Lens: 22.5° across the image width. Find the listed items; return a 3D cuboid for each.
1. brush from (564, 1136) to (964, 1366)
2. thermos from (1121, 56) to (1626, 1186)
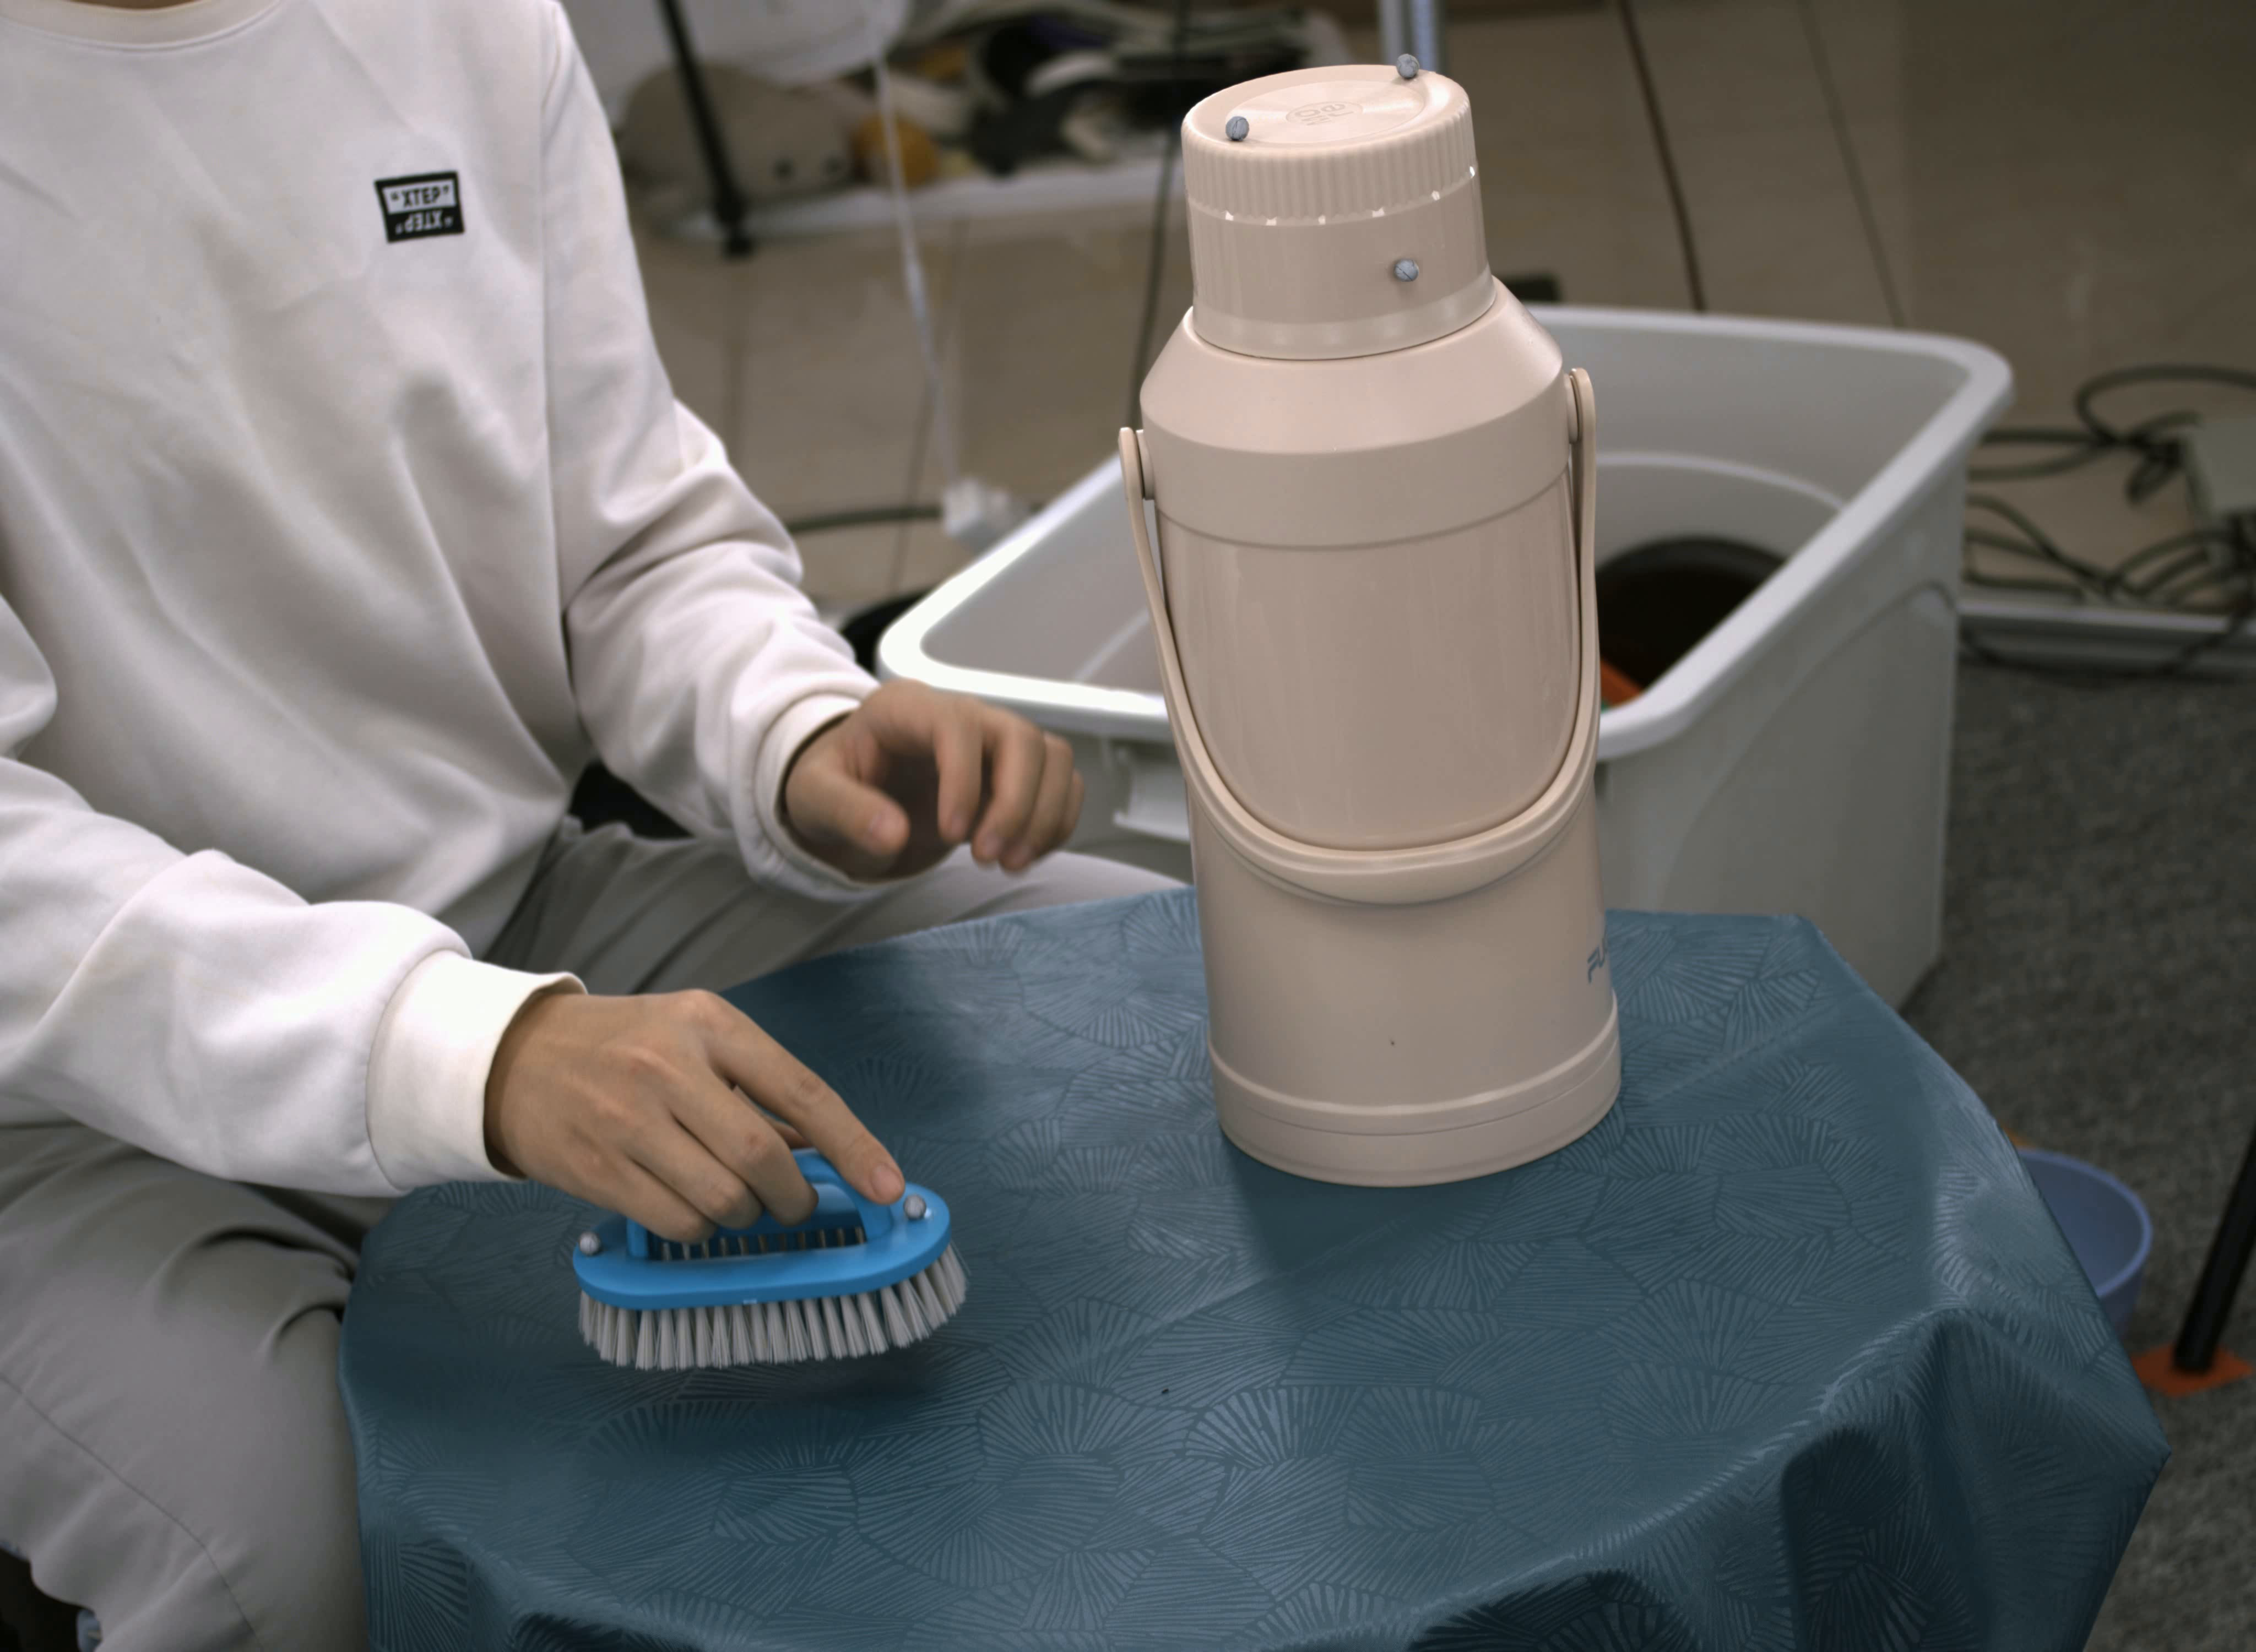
[{"bbox_3d":[-0.133,0.143,2.024,0.141,0.065,0.083,-5,29,8],"label":"brush"},{"bbox_3d":[0.093,-0.083,2.123,0.175,0.413,0.204,-9,25,-2],"label":"thermos"}]
